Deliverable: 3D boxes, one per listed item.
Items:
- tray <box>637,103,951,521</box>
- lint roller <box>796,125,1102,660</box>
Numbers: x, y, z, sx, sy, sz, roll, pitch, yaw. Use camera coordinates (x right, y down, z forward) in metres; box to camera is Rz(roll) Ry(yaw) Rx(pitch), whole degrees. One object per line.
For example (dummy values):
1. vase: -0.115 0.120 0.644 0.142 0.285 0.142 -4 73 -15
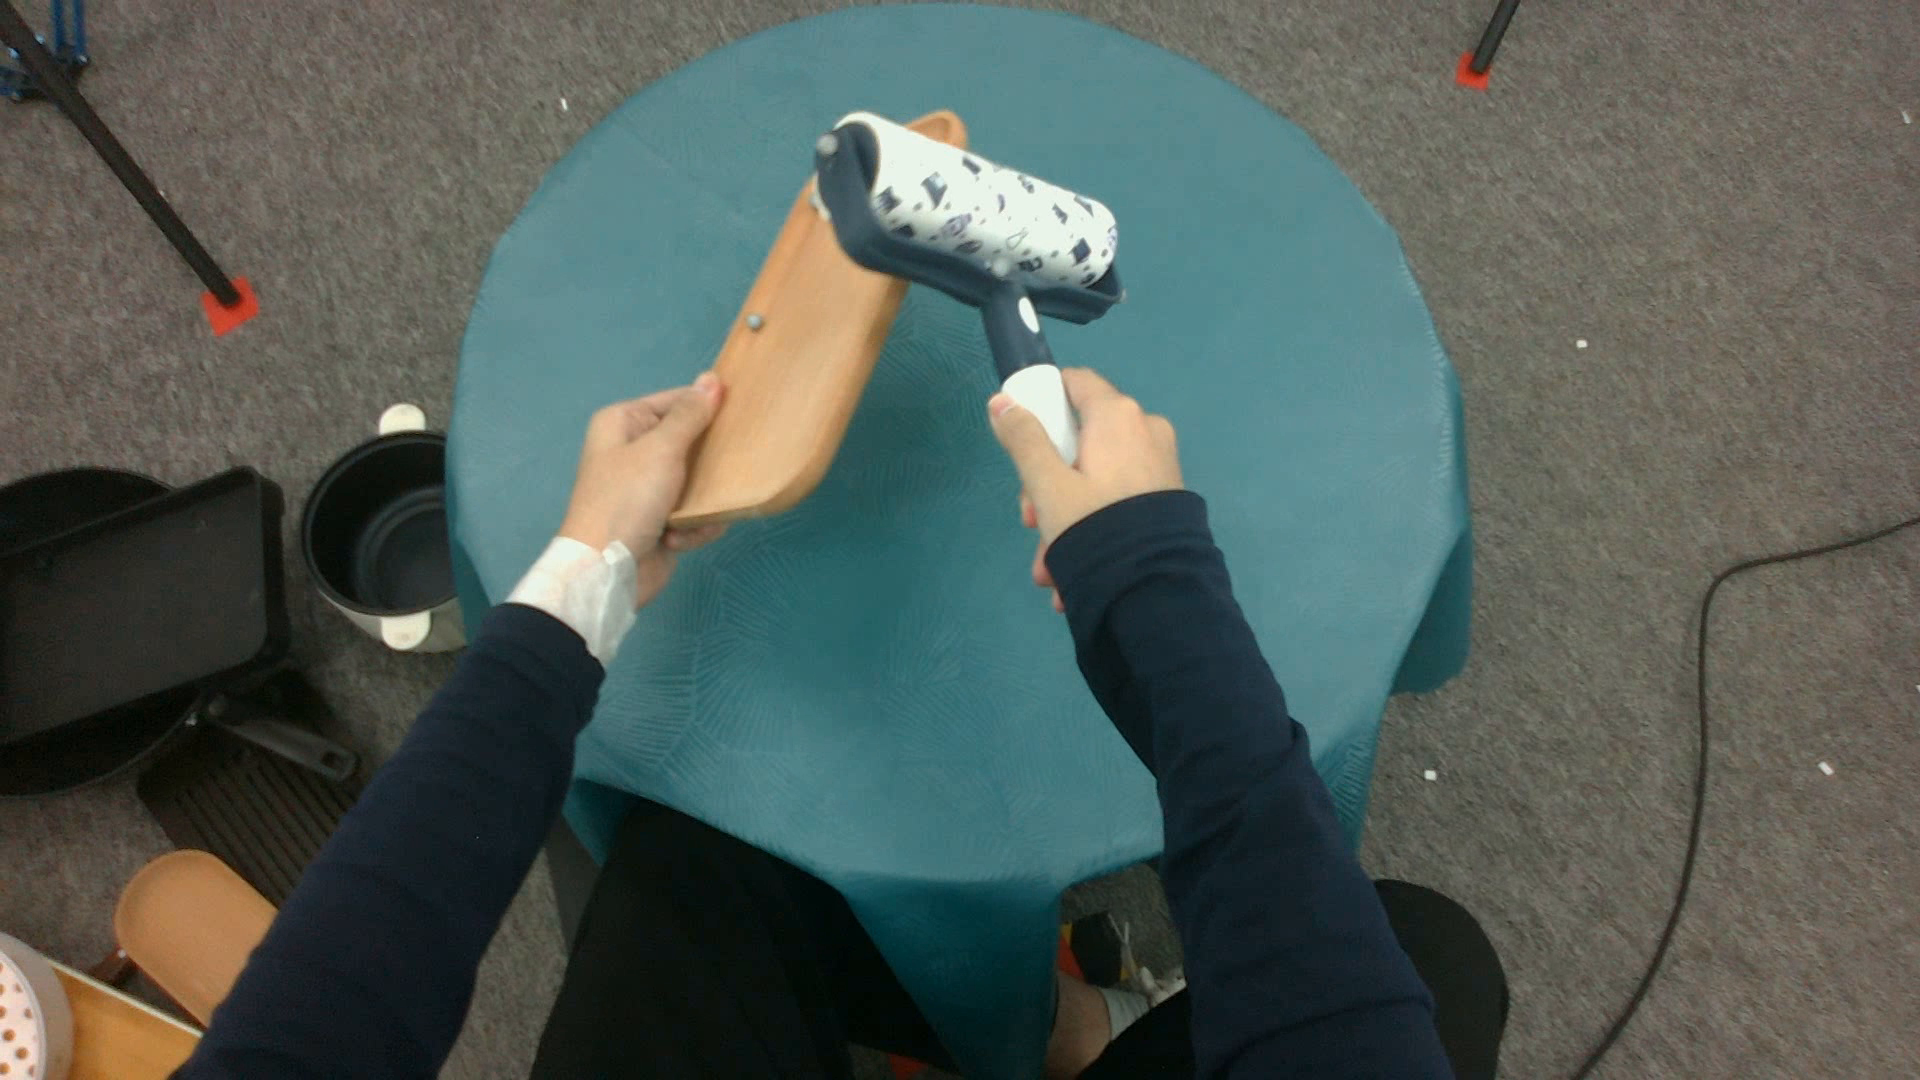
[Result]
1. tray: -0.081 -0.119 0.700 0.023 0.130 0.252 38 57 -33
2. lint roller: 0.026 -0.066 0.628 0.177 0.050 0.247 3 62 -45
